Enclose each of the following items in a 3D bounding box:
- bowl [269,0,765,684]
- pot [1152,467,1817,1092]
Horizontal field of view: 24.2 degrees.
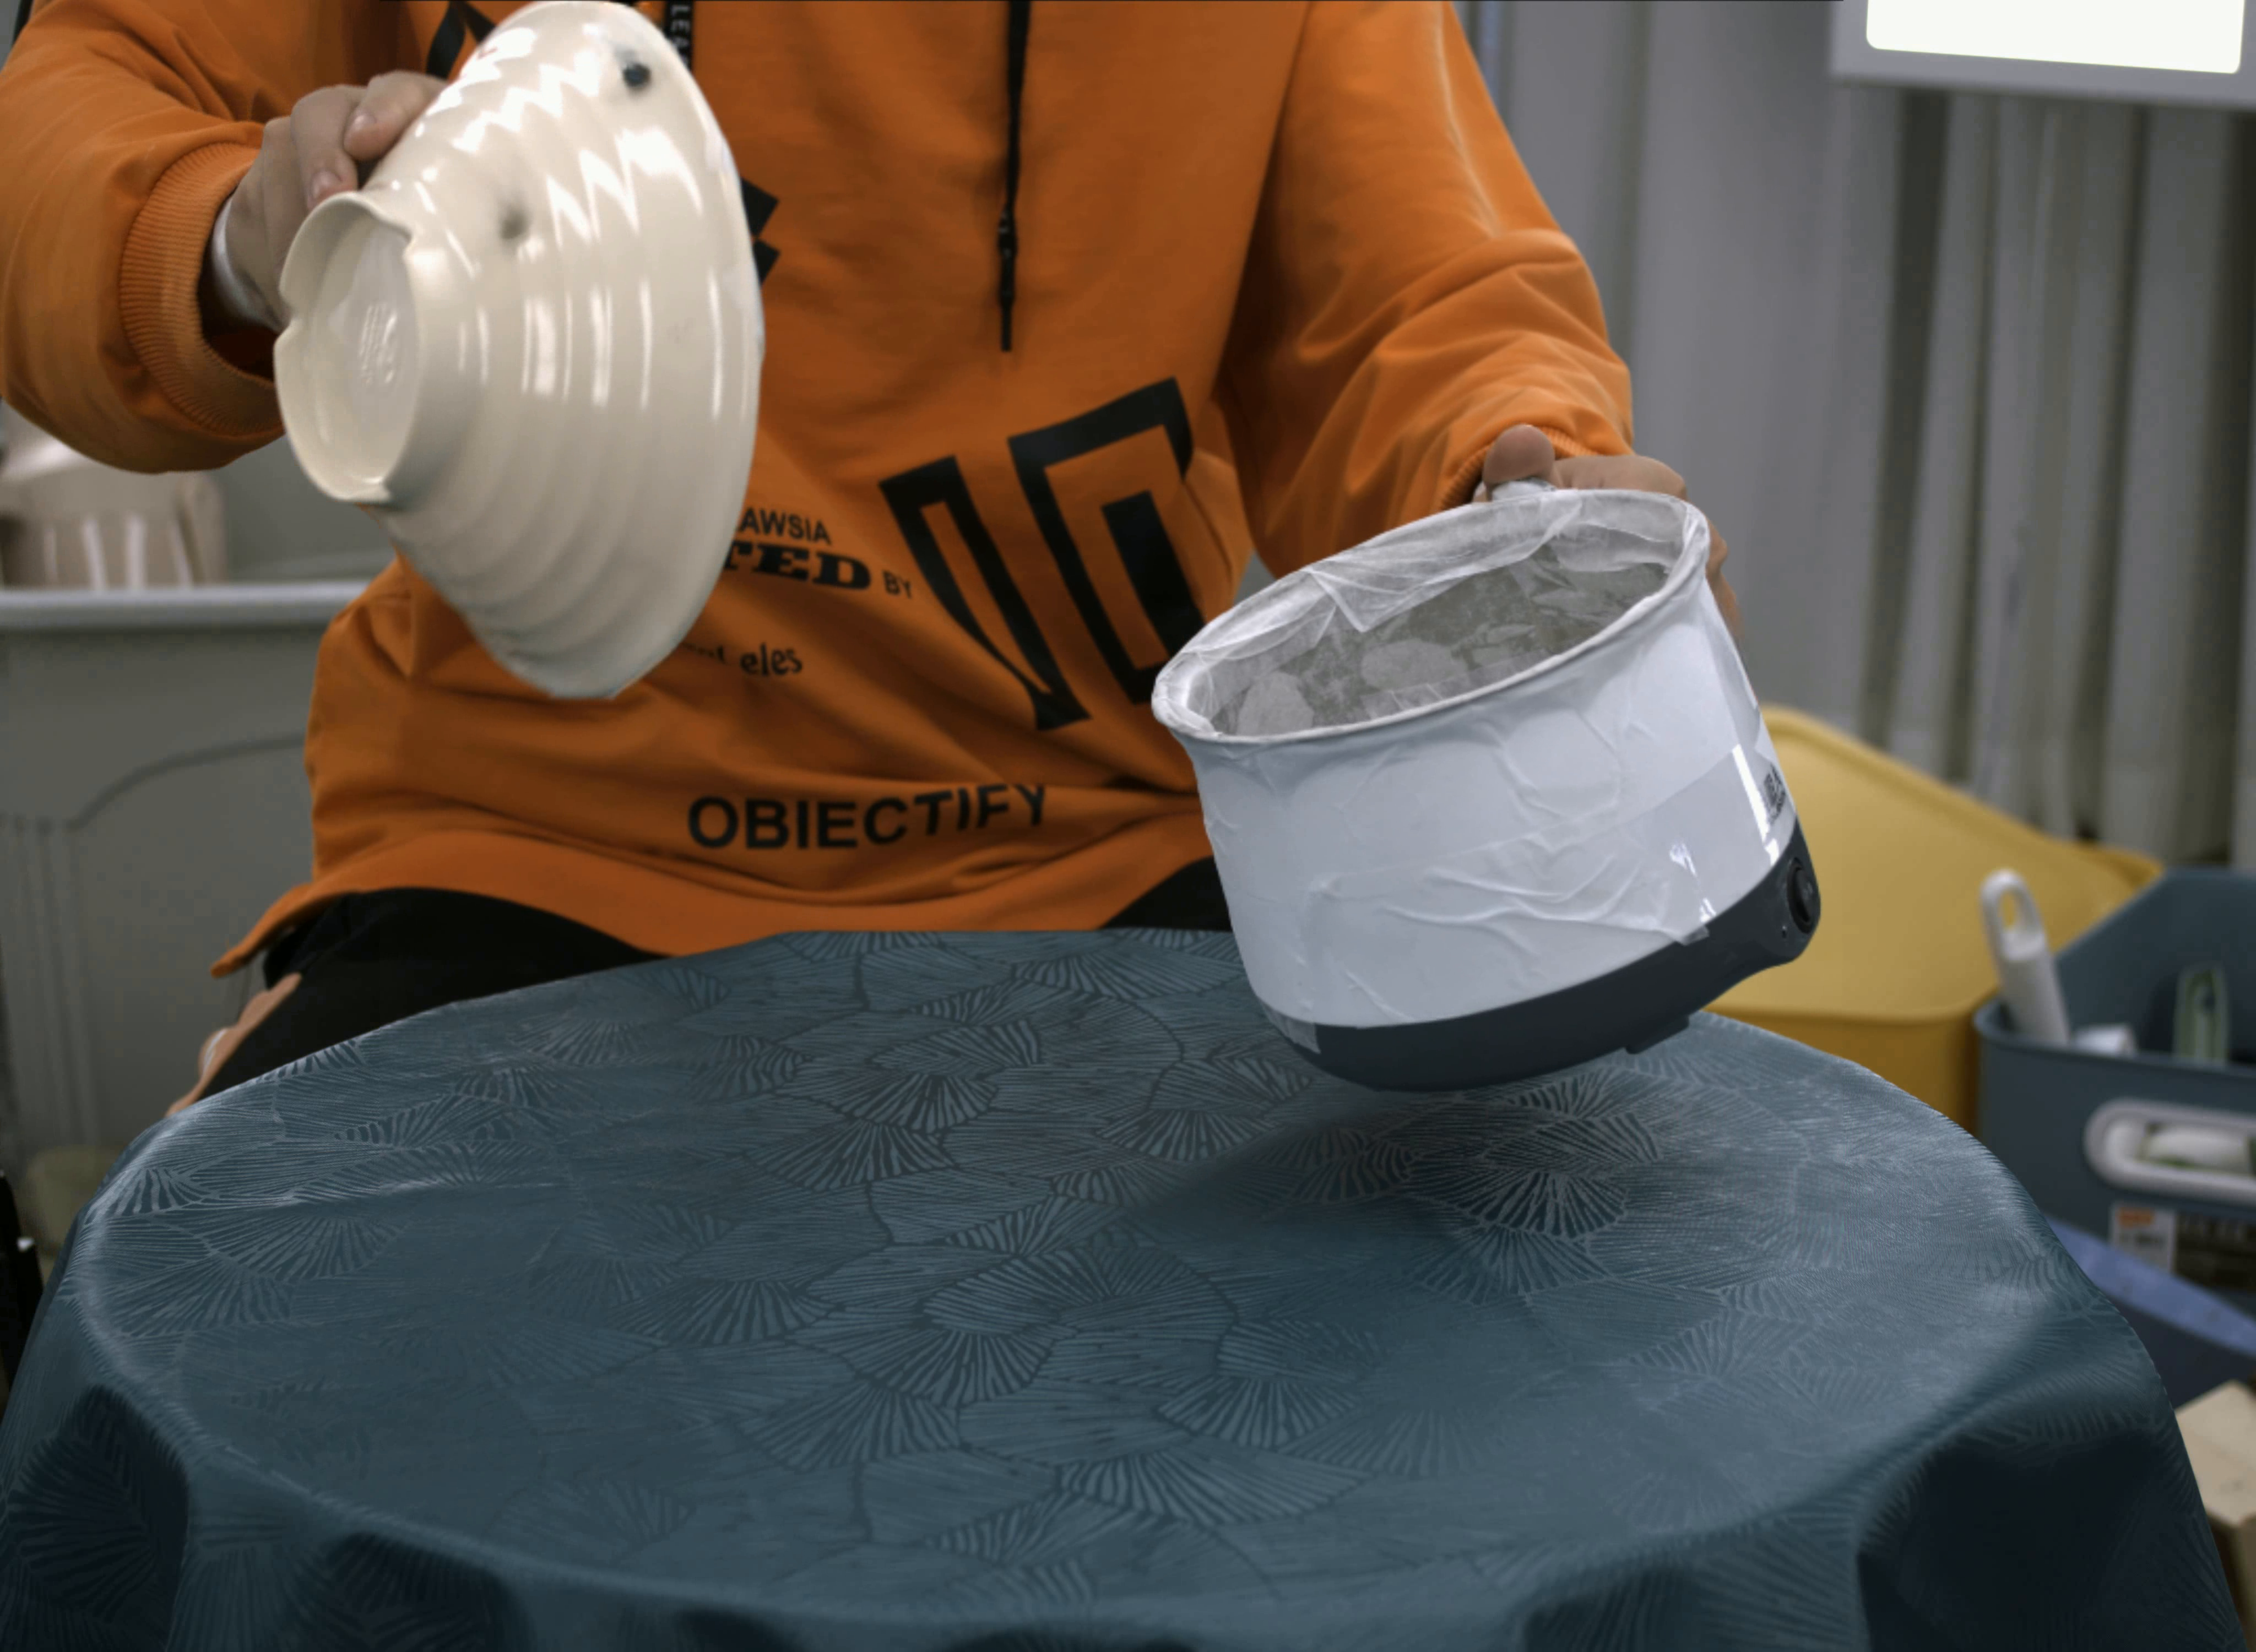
[{"bbox_3d":[-0.189,-0.141,1.493,0.078,0.205,0.201,-5,16,-38],"label":"bowl"},{"bbox_3d":[0.119,-0.022,1.637,0.177,0.138,0.233,-10,22,23],"label":"pot"}]
